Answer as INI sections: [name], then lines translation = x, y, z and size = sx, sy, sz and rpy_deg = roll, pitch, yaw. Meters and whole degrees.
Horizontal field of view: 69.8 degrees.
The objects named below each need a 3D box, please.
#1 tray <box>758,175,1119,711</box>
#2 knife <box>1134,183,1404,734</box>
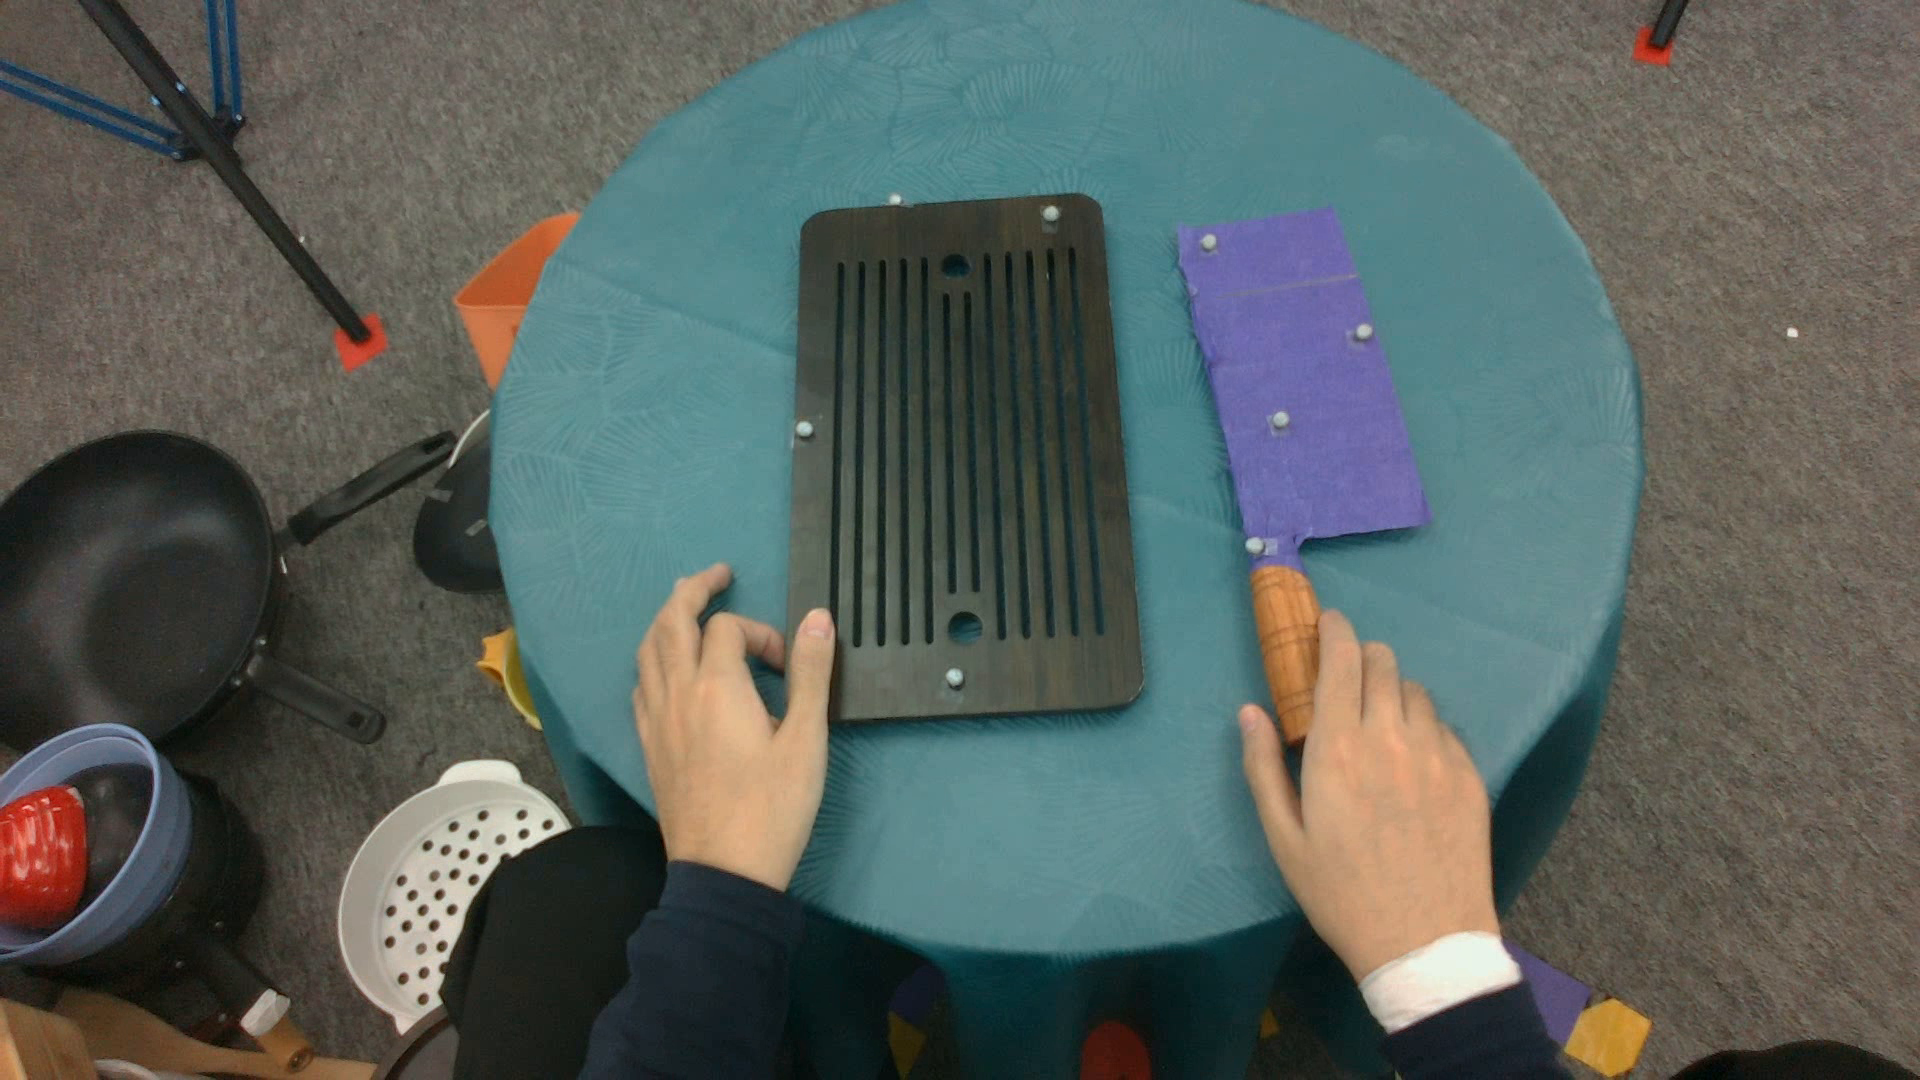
[tray]
translation = -0.016, -0.060, 0.708
size = 0.170, 0.018, 0.307
rpy_deg = -4, 63, 2
[knife]
translation = 0.166, -0.060, 0.690
size = 0.104, 0.032, 0.316
rpy_deg = -8, 63, 0
